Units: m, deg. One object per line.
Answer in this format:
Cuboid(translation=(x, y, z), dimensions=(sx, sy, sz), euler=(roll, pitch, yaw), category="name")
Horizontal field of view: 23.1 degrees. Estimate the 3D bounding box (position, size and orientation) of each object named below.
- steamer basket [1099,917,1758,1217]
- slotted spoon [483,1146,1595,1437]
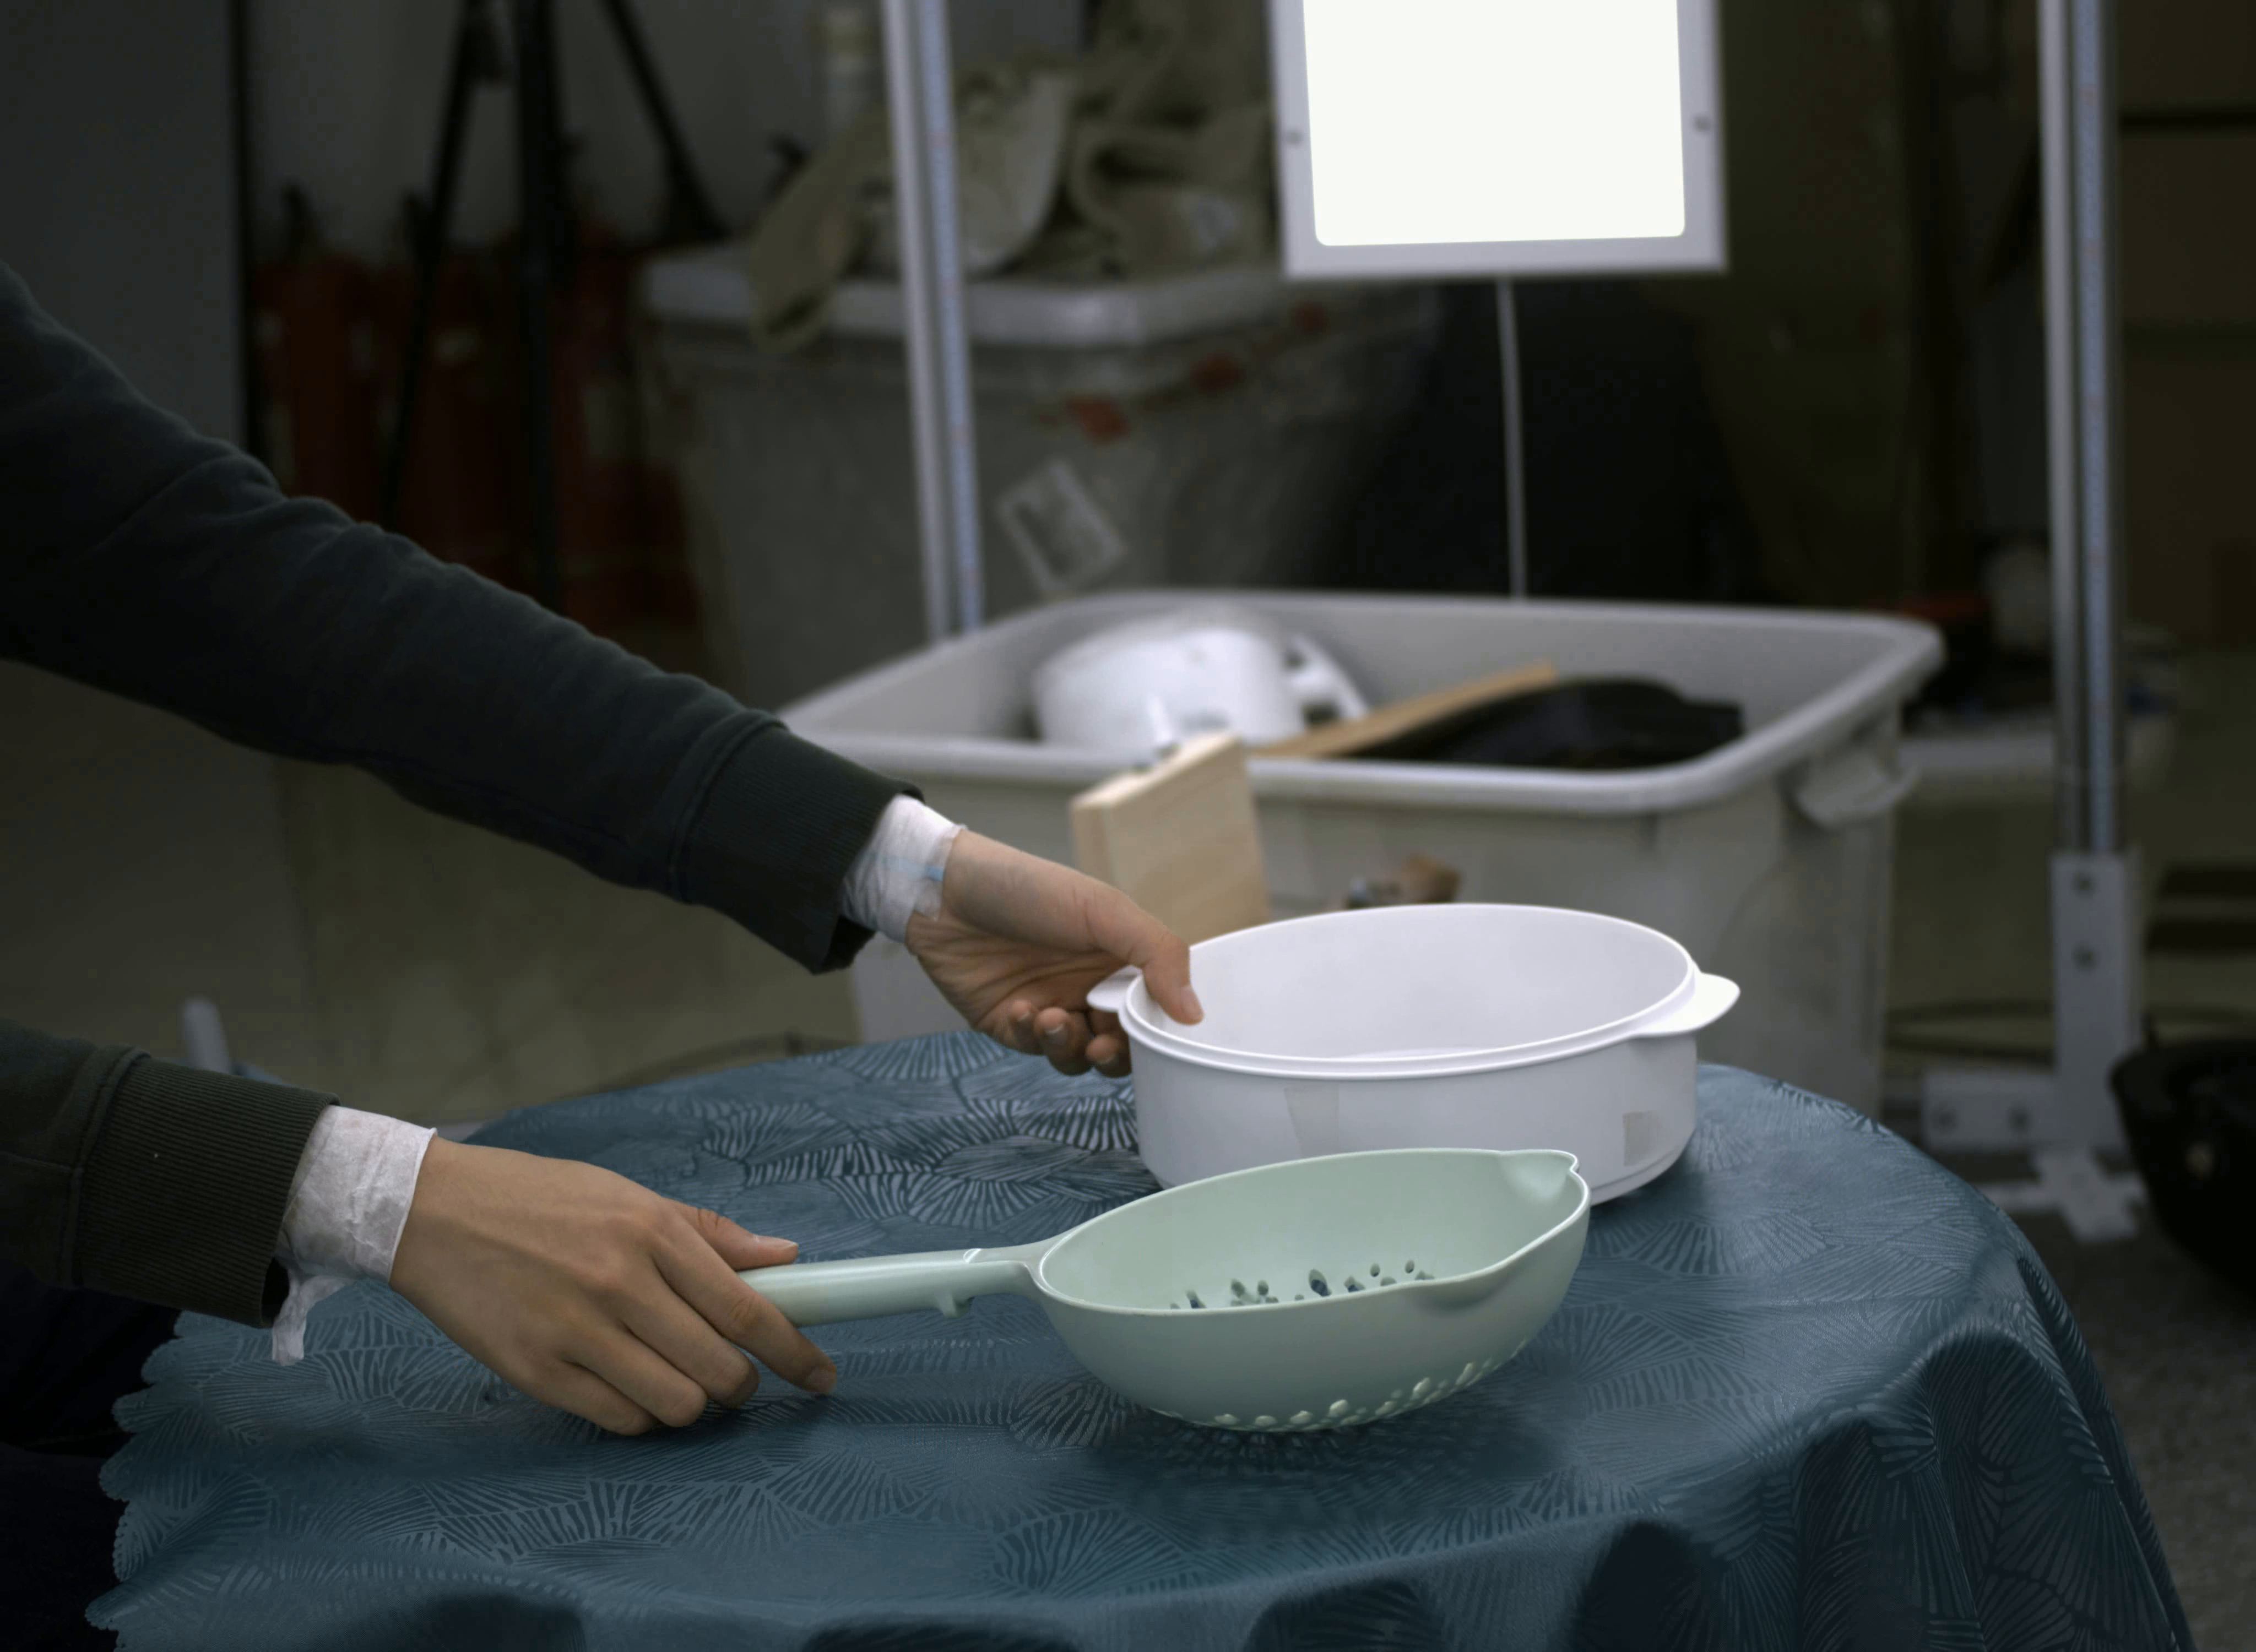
Cuboid(translation=(0.104, 0.086, 1.890), dimensions=(0.234, 0.069, 0.198), euler=(1, 14, 24), category="steamer basket")
Cuboid(translation=(-0.034, 0.143, 1.693), dimensions=(0.363, 0.075, 0.166), euler=(2, 12, 18), category="slotted spoon")
